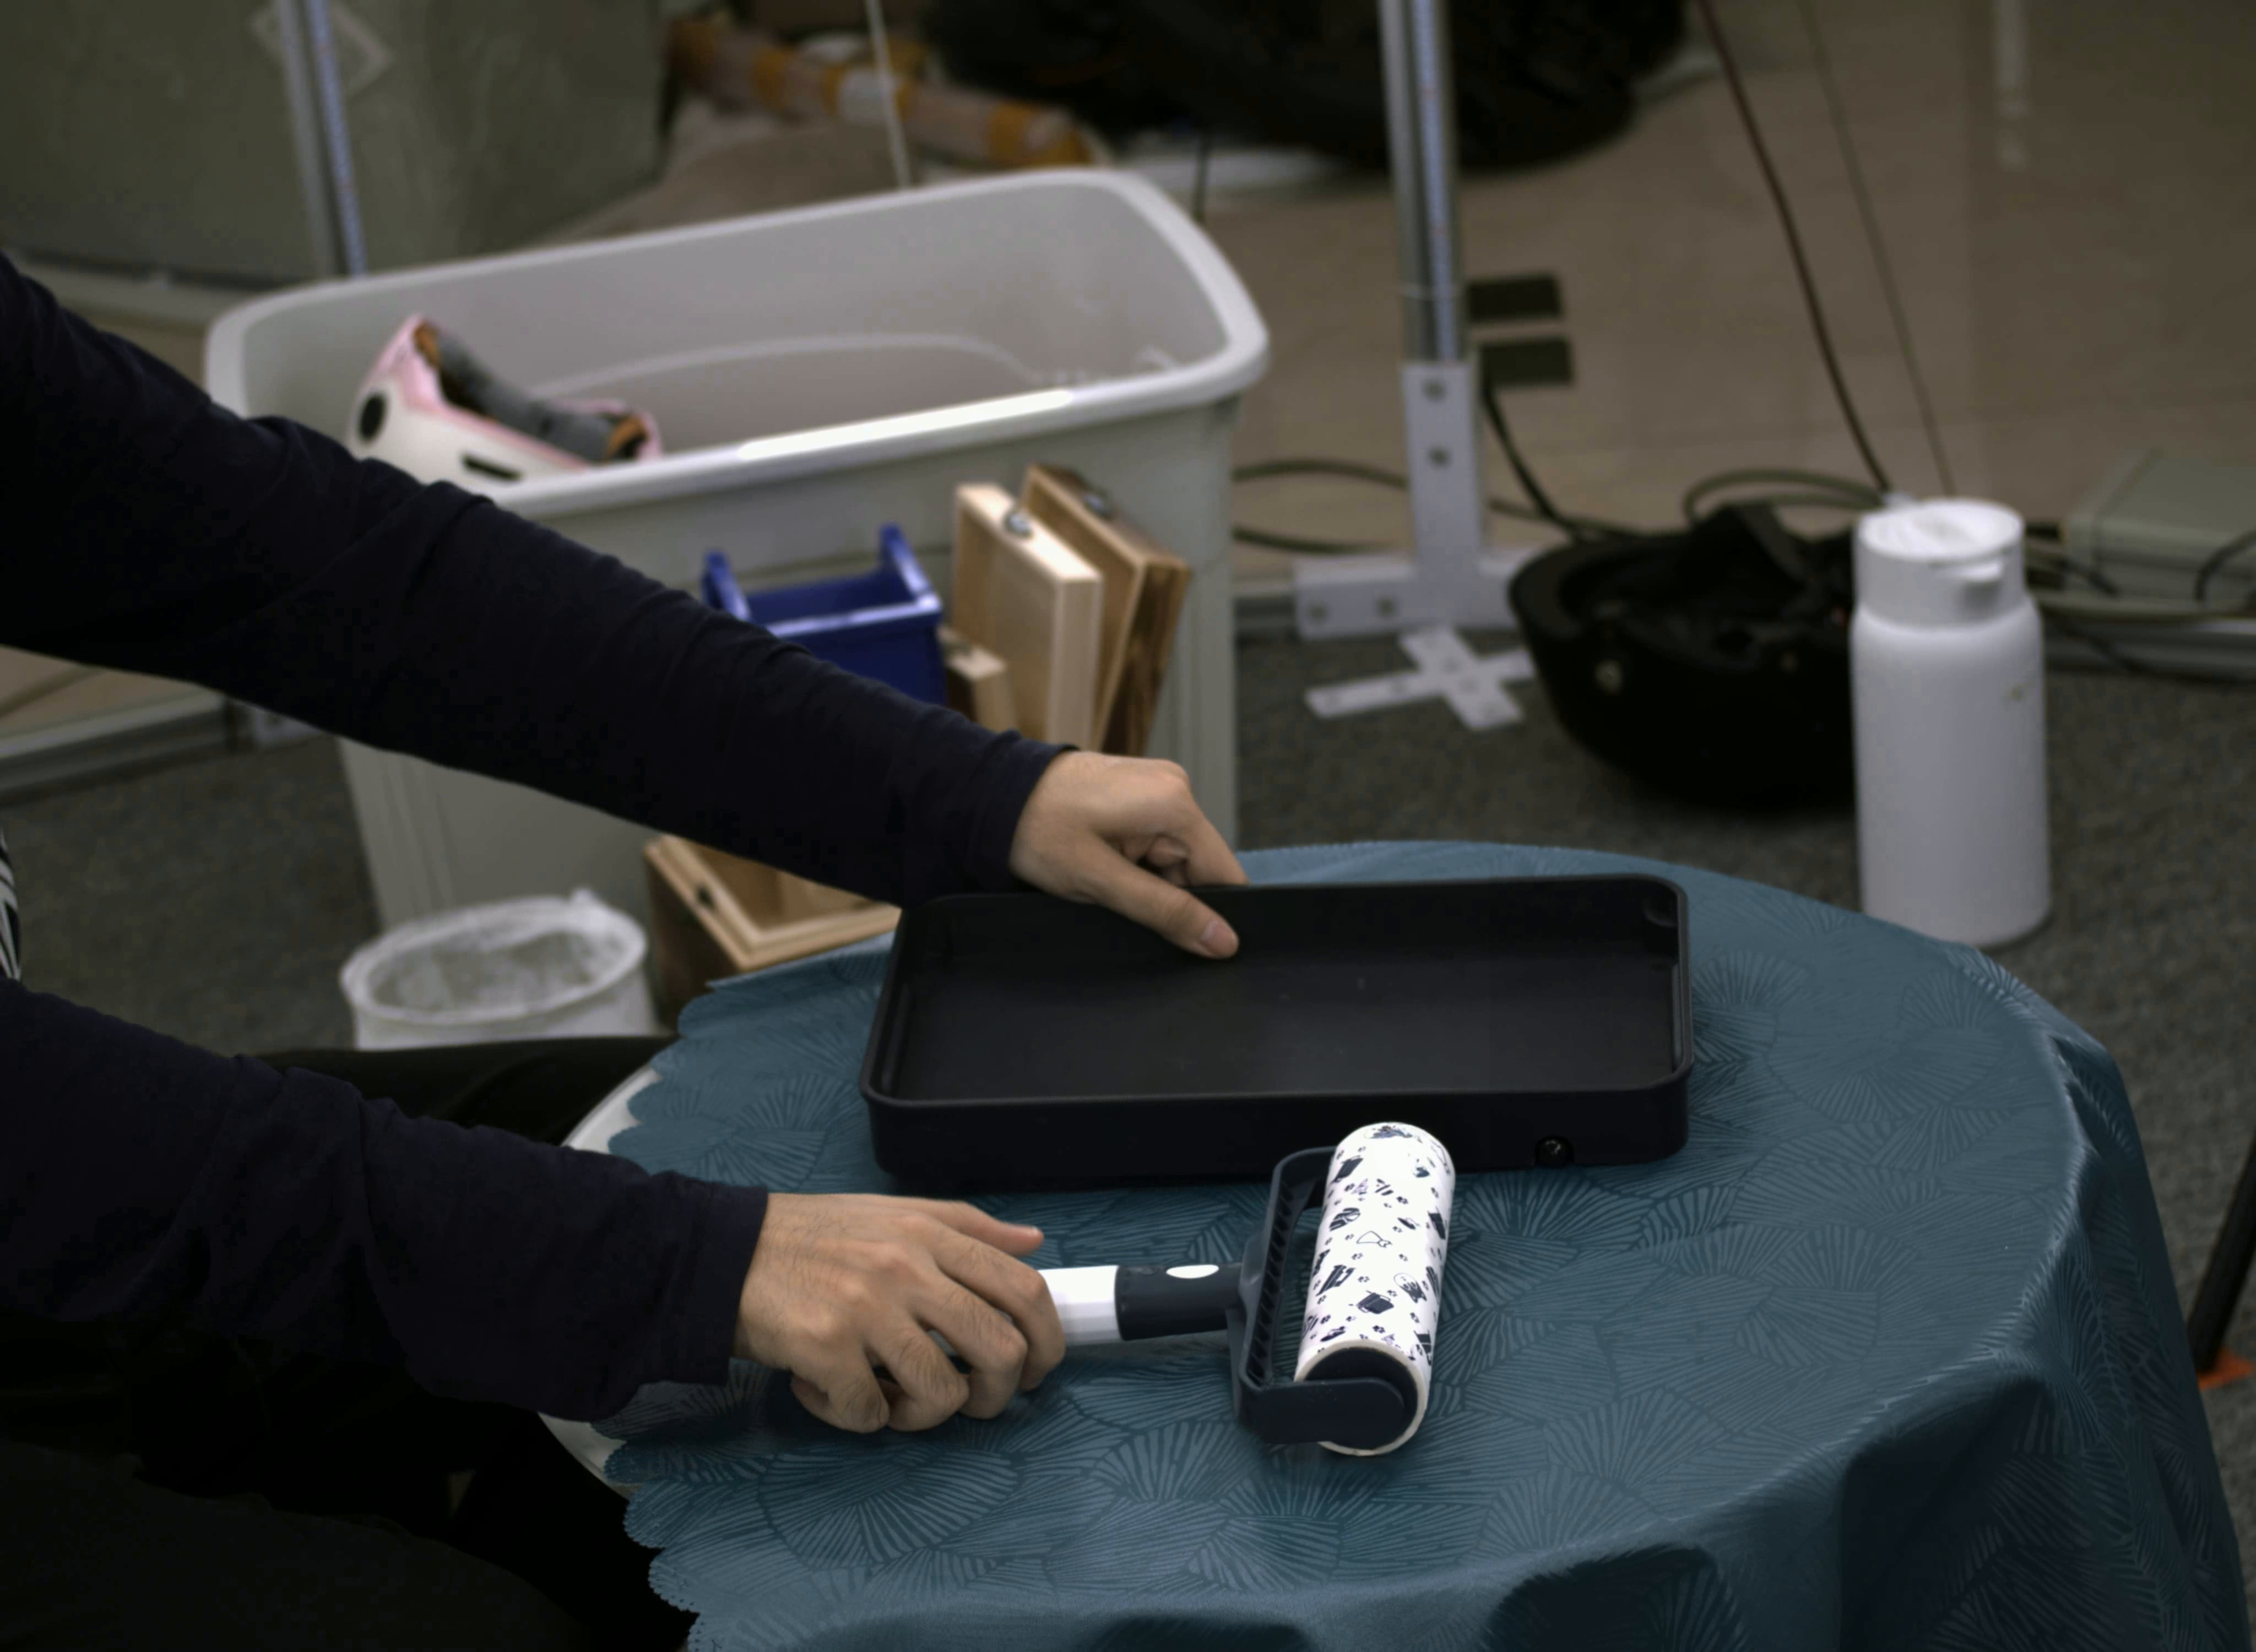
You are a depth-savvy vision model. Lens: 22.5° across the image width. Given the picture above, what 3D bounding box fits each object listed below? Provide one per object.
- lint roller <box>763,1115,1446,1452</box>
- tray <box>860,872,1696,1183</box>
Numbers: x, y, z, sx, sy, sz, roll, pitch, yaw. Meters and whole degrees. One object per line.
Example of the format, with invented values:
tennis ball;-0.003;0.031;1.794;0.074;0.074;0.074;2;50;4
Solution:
lint roller;-0.012;0.172;2.035;0.247;0.051;0.173;-6;26;9
tray;0.062;0.077;2.212;0.317;0.037;0.181;-2;26;6
